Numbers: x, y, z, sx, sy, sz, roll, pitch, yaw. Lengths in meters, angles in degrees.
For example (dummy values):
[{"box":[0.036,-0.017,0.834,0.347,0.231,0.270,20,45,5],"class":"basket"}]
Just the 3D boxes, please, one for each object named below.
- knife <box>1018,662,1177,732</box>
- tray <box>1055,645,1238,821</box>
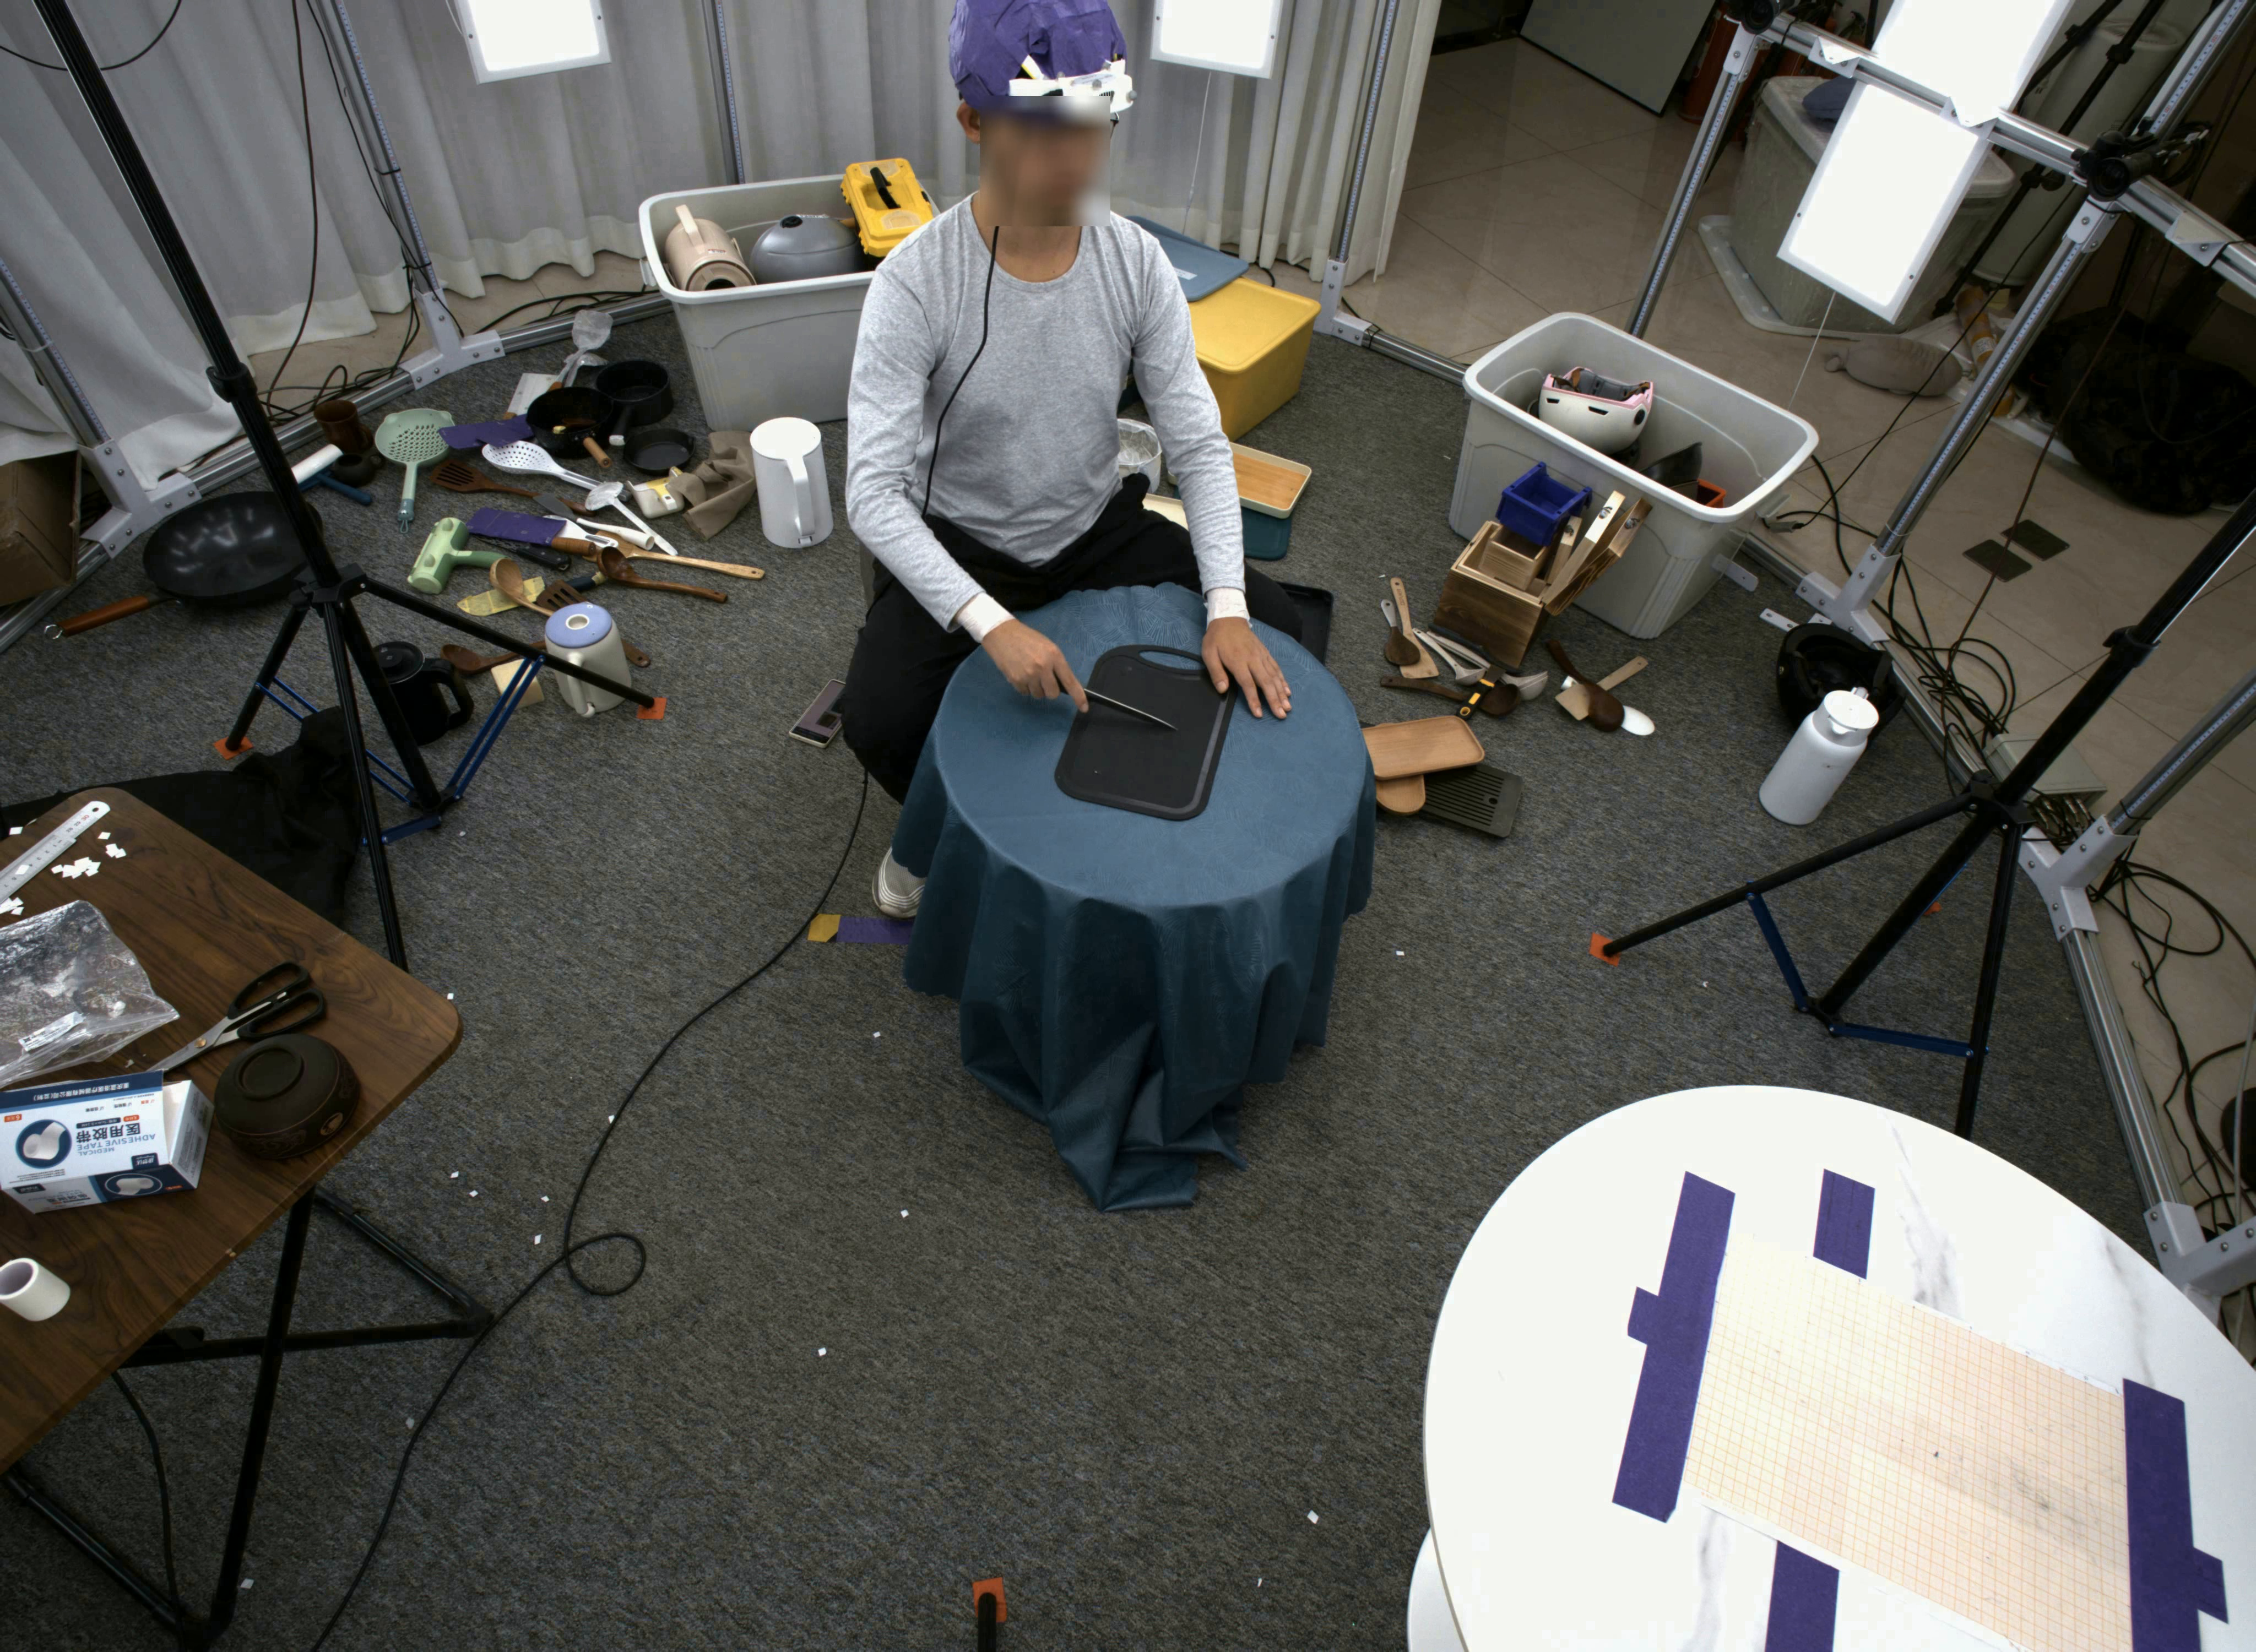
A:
[{"box":[-0.040,-0.177,1.777,0.237,0.024,0.016,22,61,-4],"class":"knife"},{"box":[0.031,-0.143,1.790,0.211,0.009,0.332,13,49,7],"class":"tray"}]
